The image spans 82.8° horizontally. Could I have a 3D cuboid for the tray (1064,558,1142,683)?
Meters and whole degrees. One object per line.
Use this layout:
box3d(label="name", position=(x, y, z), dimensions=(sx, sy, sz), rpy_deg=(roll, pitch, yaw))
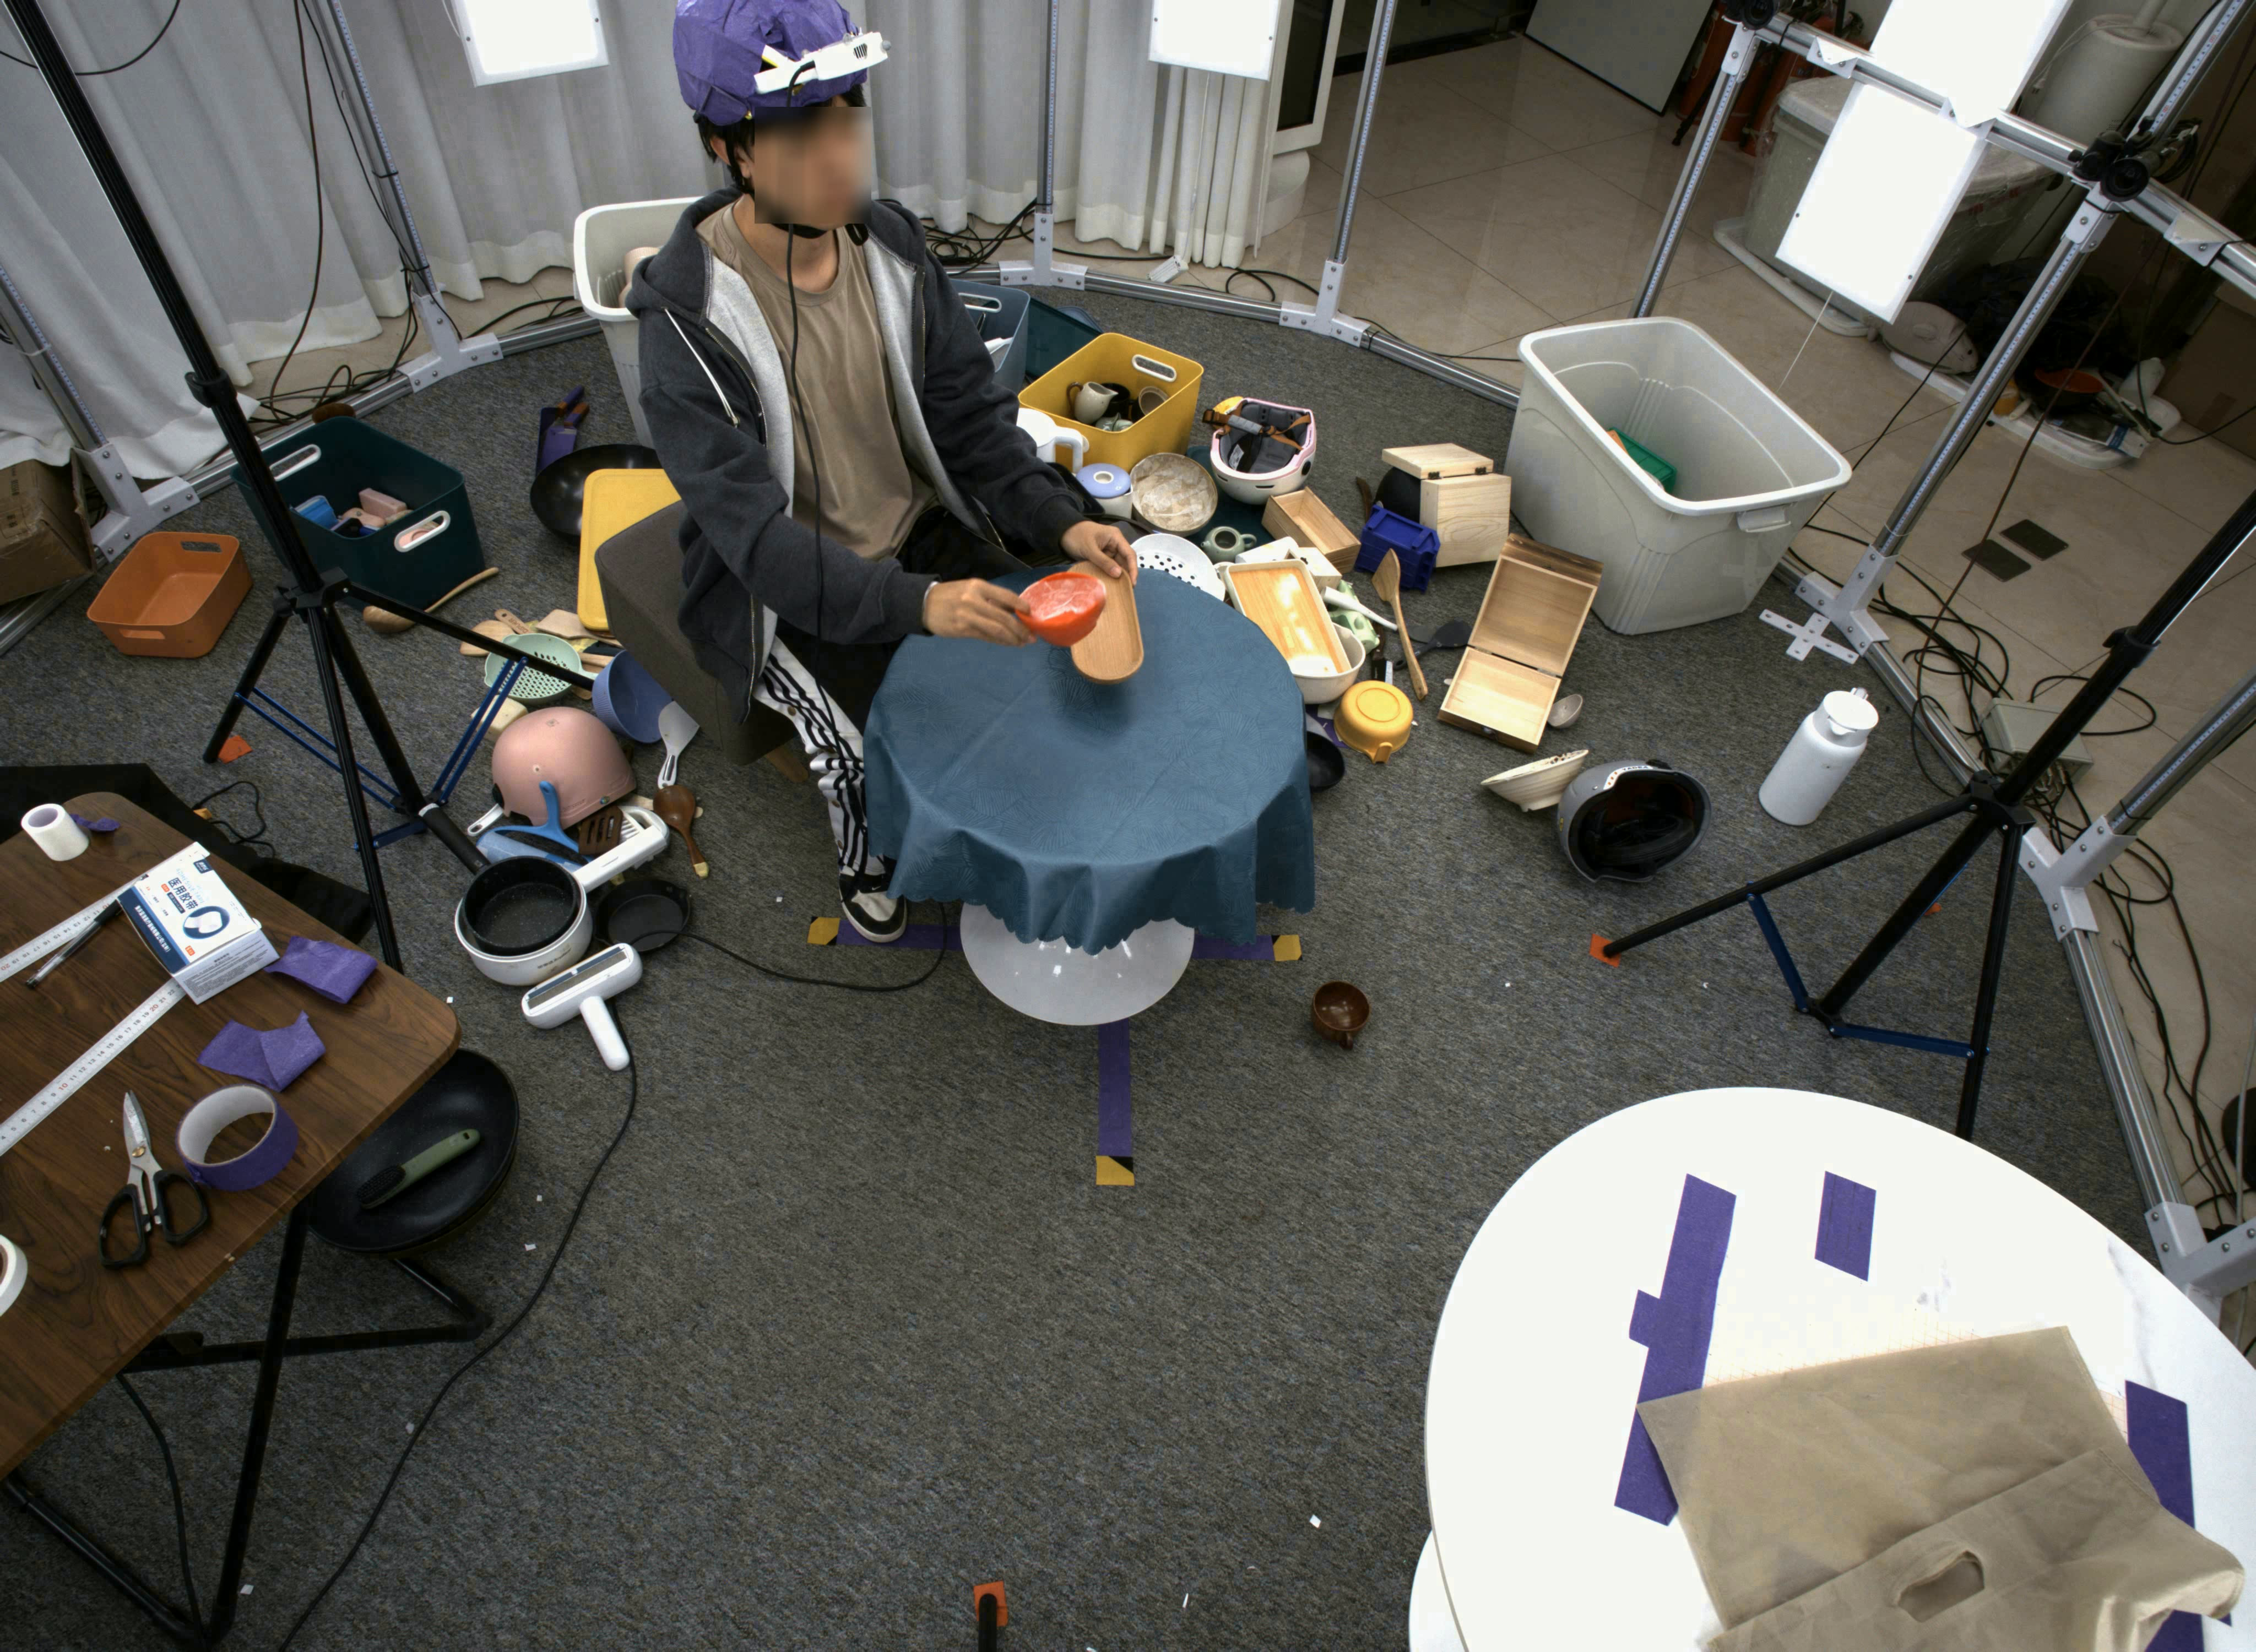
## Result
box3d(label="tray", position=(-0.040, -0.294, 1.825), dimensions=(0.101, 0.020, 0.237), rpy_deg=(-5, 53, -7))

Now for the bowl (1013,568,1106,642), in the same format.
box3d(label="bowl", position=(-0.081, -0.276, 1.628), dimensions=(0.119, 0.050, 0.122), rpy_deg=(-9, 40, 7))
